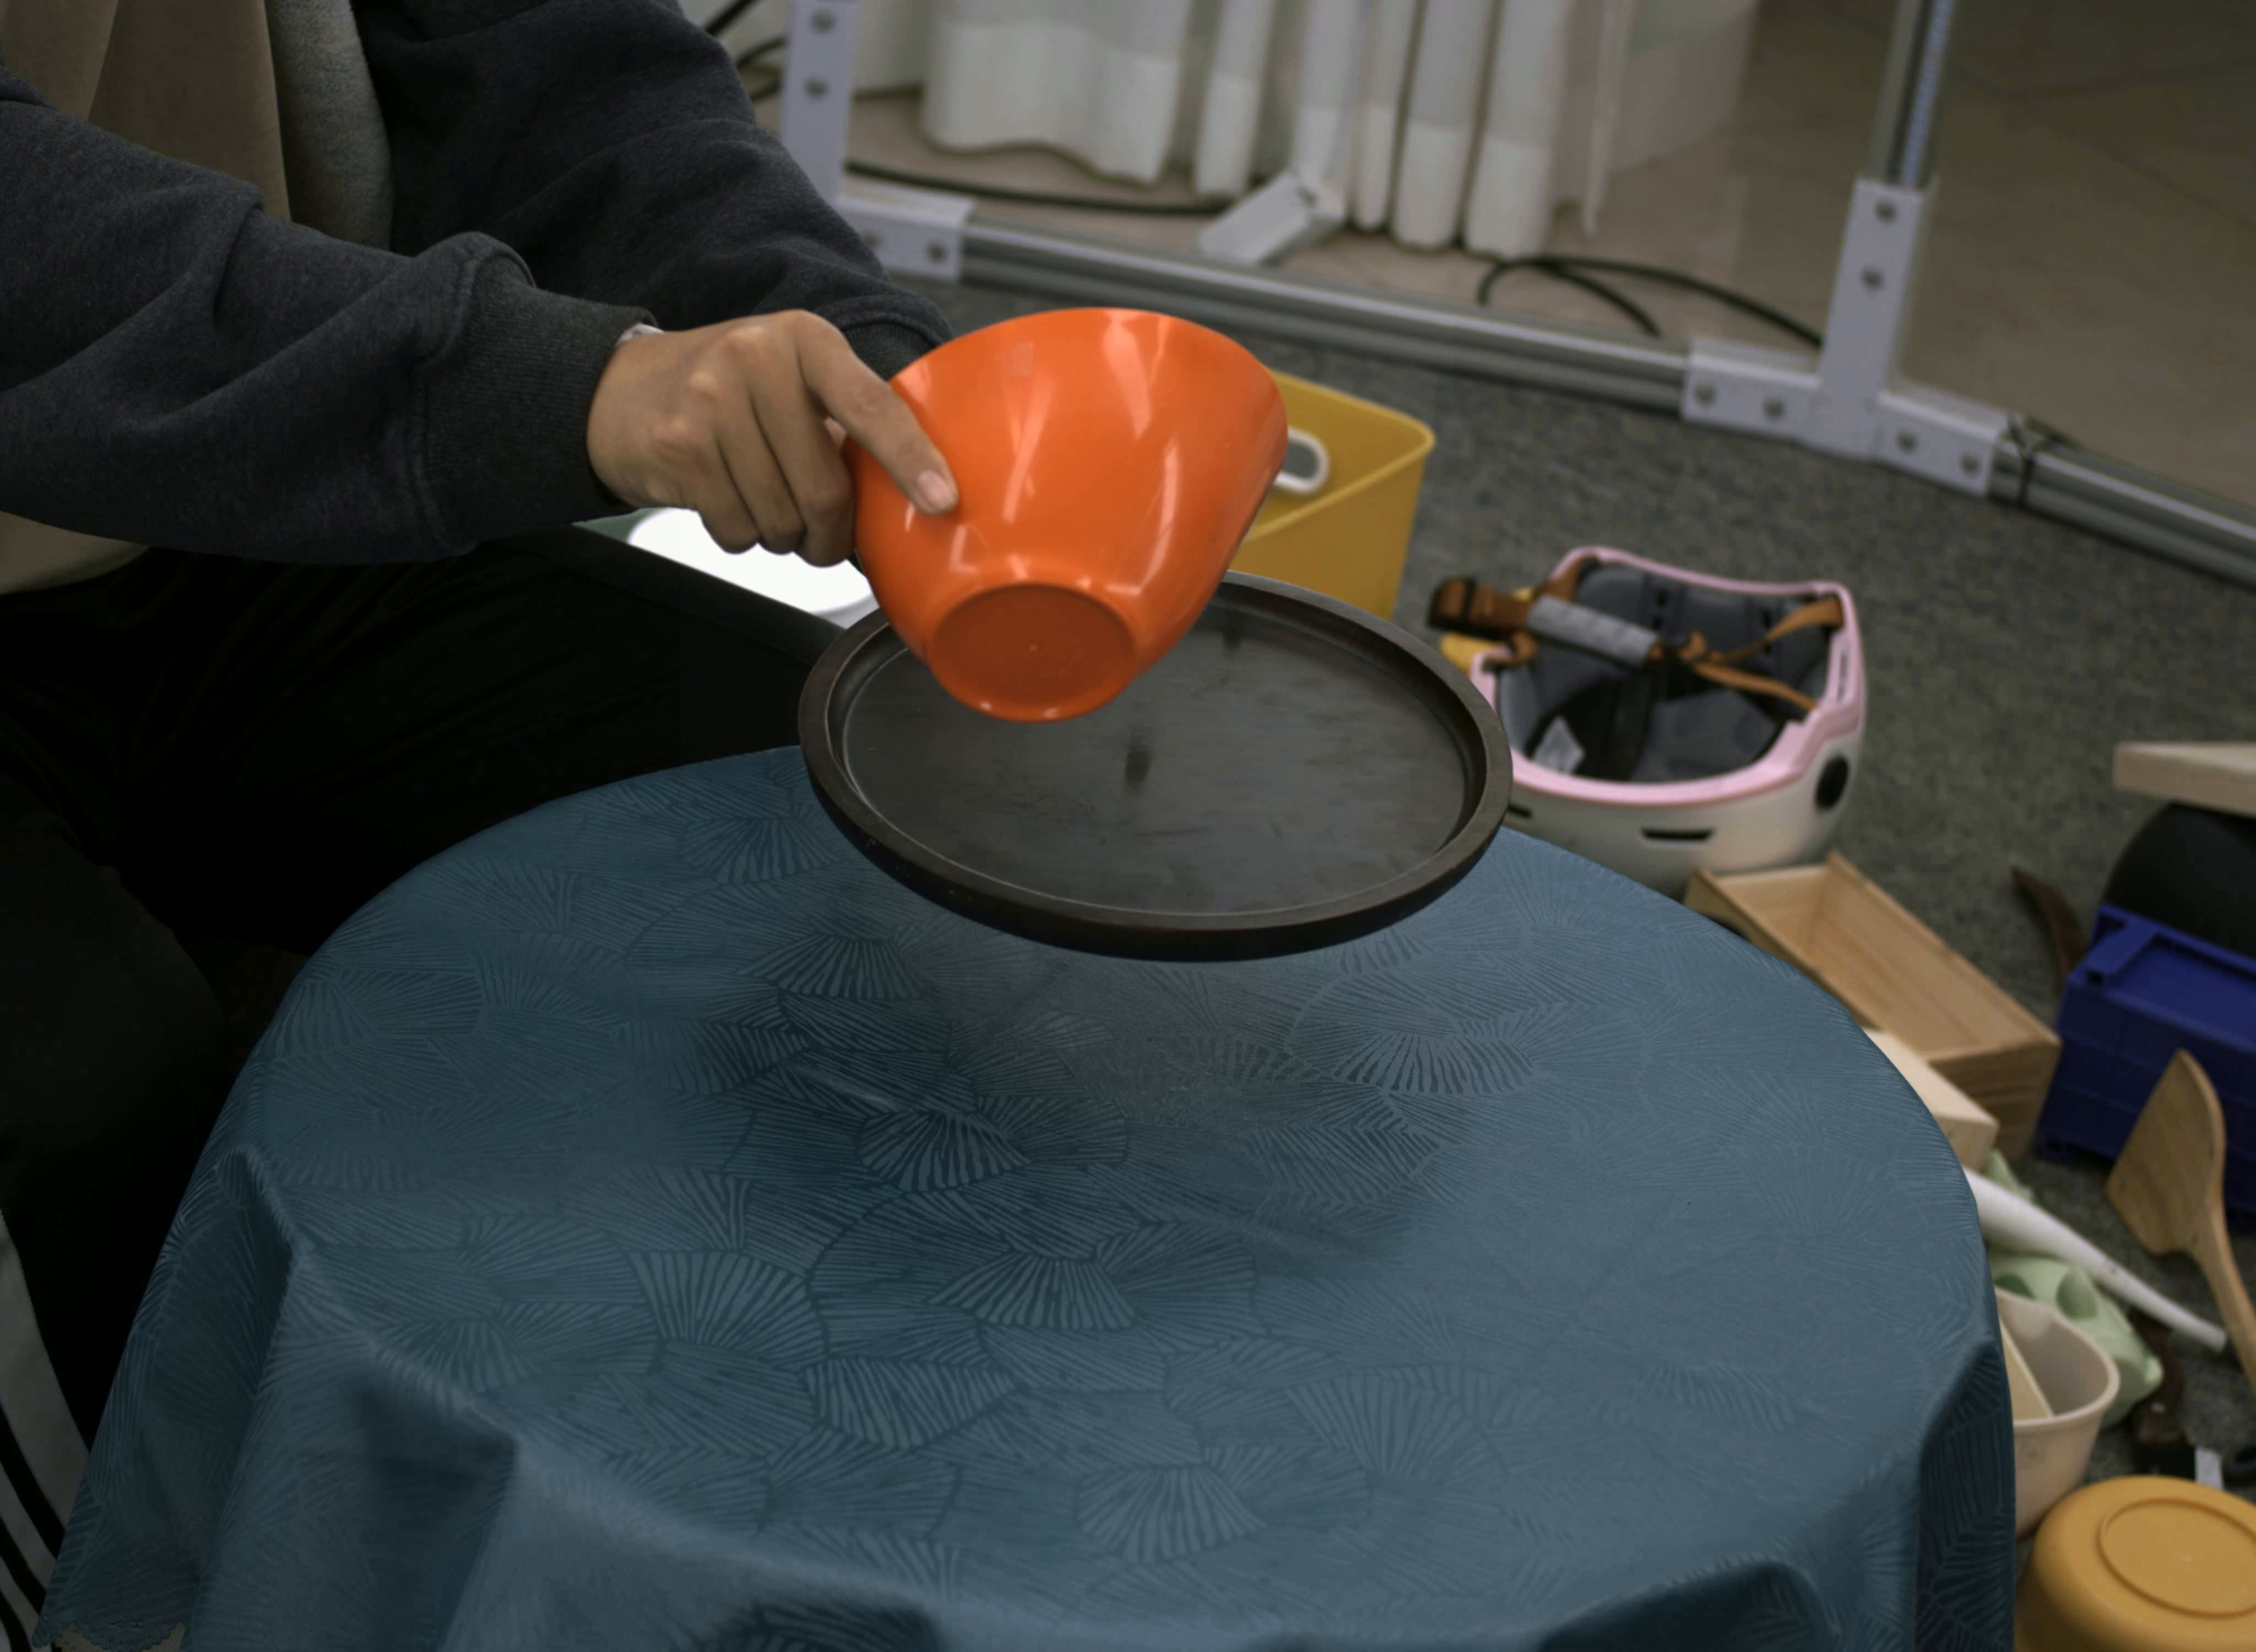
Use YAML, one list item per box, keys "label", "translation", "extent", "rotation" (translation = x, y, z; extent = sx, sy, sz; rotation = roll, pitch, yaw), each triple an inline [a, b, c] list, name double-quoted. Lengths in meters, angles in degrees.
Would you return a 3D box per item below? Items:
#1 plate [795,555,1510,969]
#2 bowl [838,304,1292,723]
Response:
- label: "plate"
  translation: [0.008, -0.024, 1.869]
  extent: [0.254, 0.029, 0.256]
  rotation: [3, 32, -2]
- label: "bowl"
  translation: [-0.020, -0.089, 1.703]
  extent: [0.147, 0.147, 0.105]
  rotation: [5, 49, -4]
